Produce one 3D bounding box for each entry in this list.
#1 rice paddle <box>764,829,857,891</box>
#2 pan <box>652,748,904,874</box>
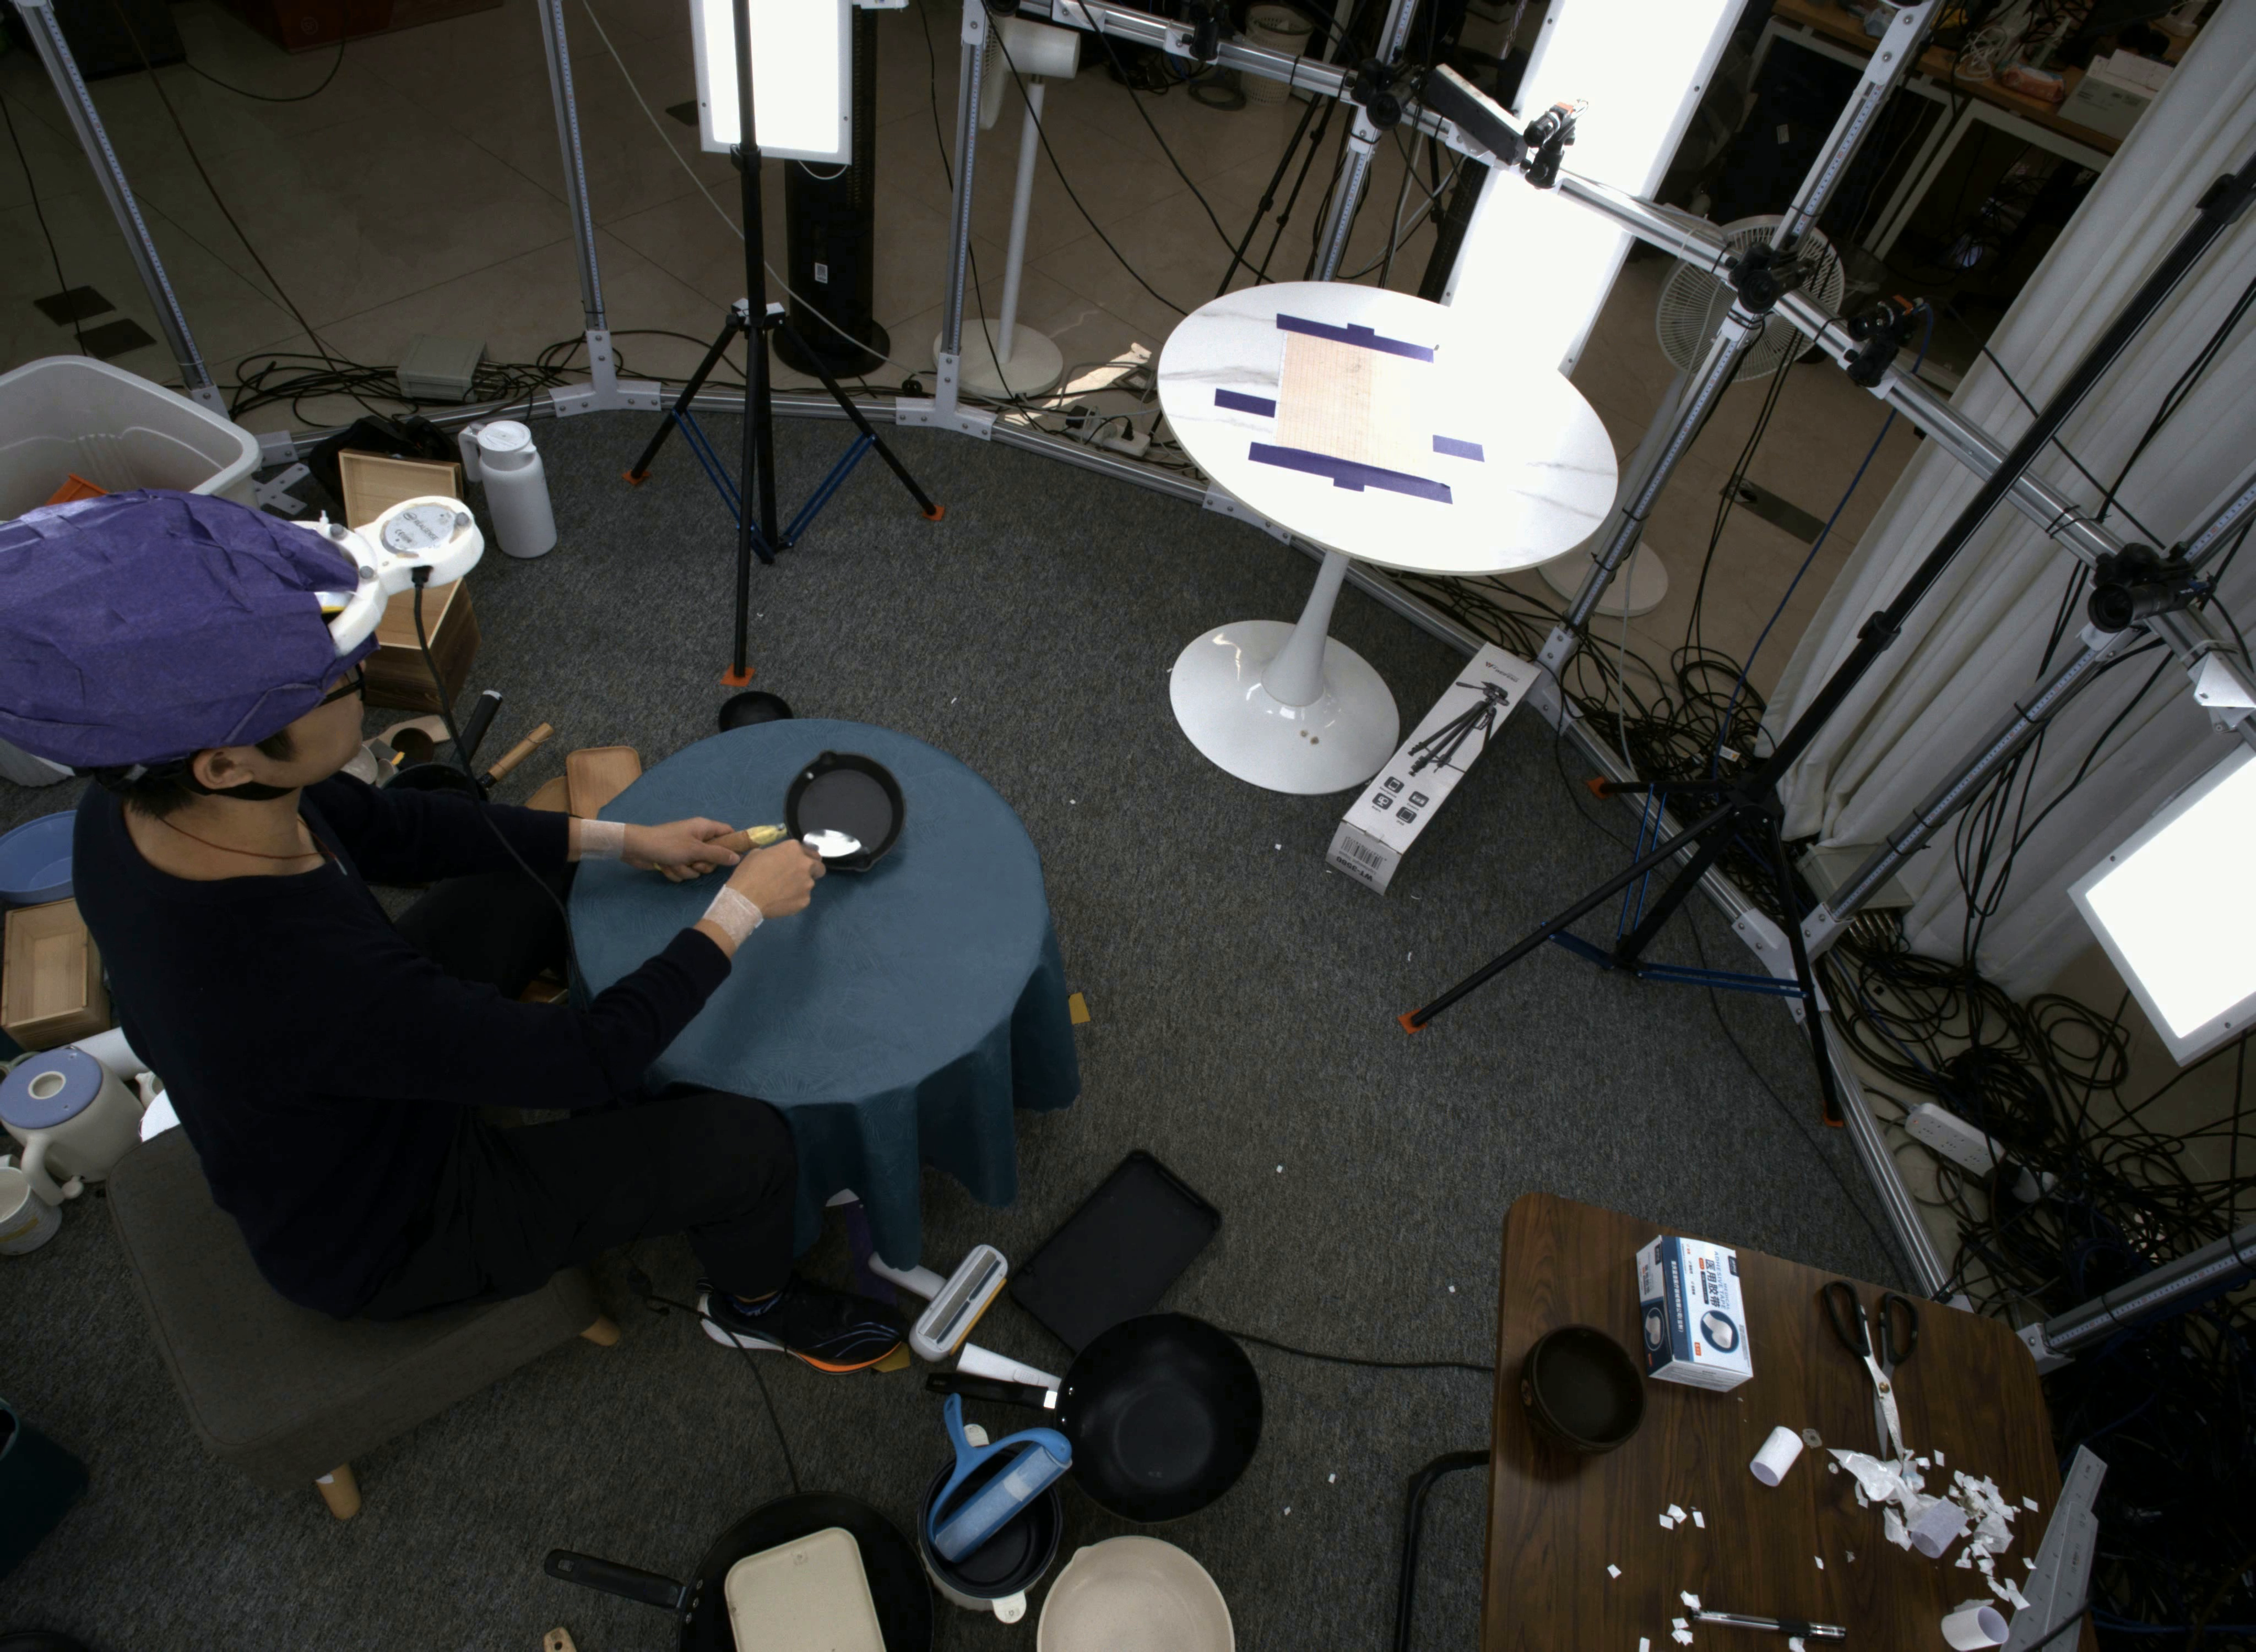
[{"bbox_3d":[-0.391,0.032,1.598,0.068,0.030,0.204,20,17,4],"label":"rice paddle"},{"bbox_3d":[-0.446,0.002,1.656,0.325,0.049,0.169,-16,84,-19],"label":"pan"}]
